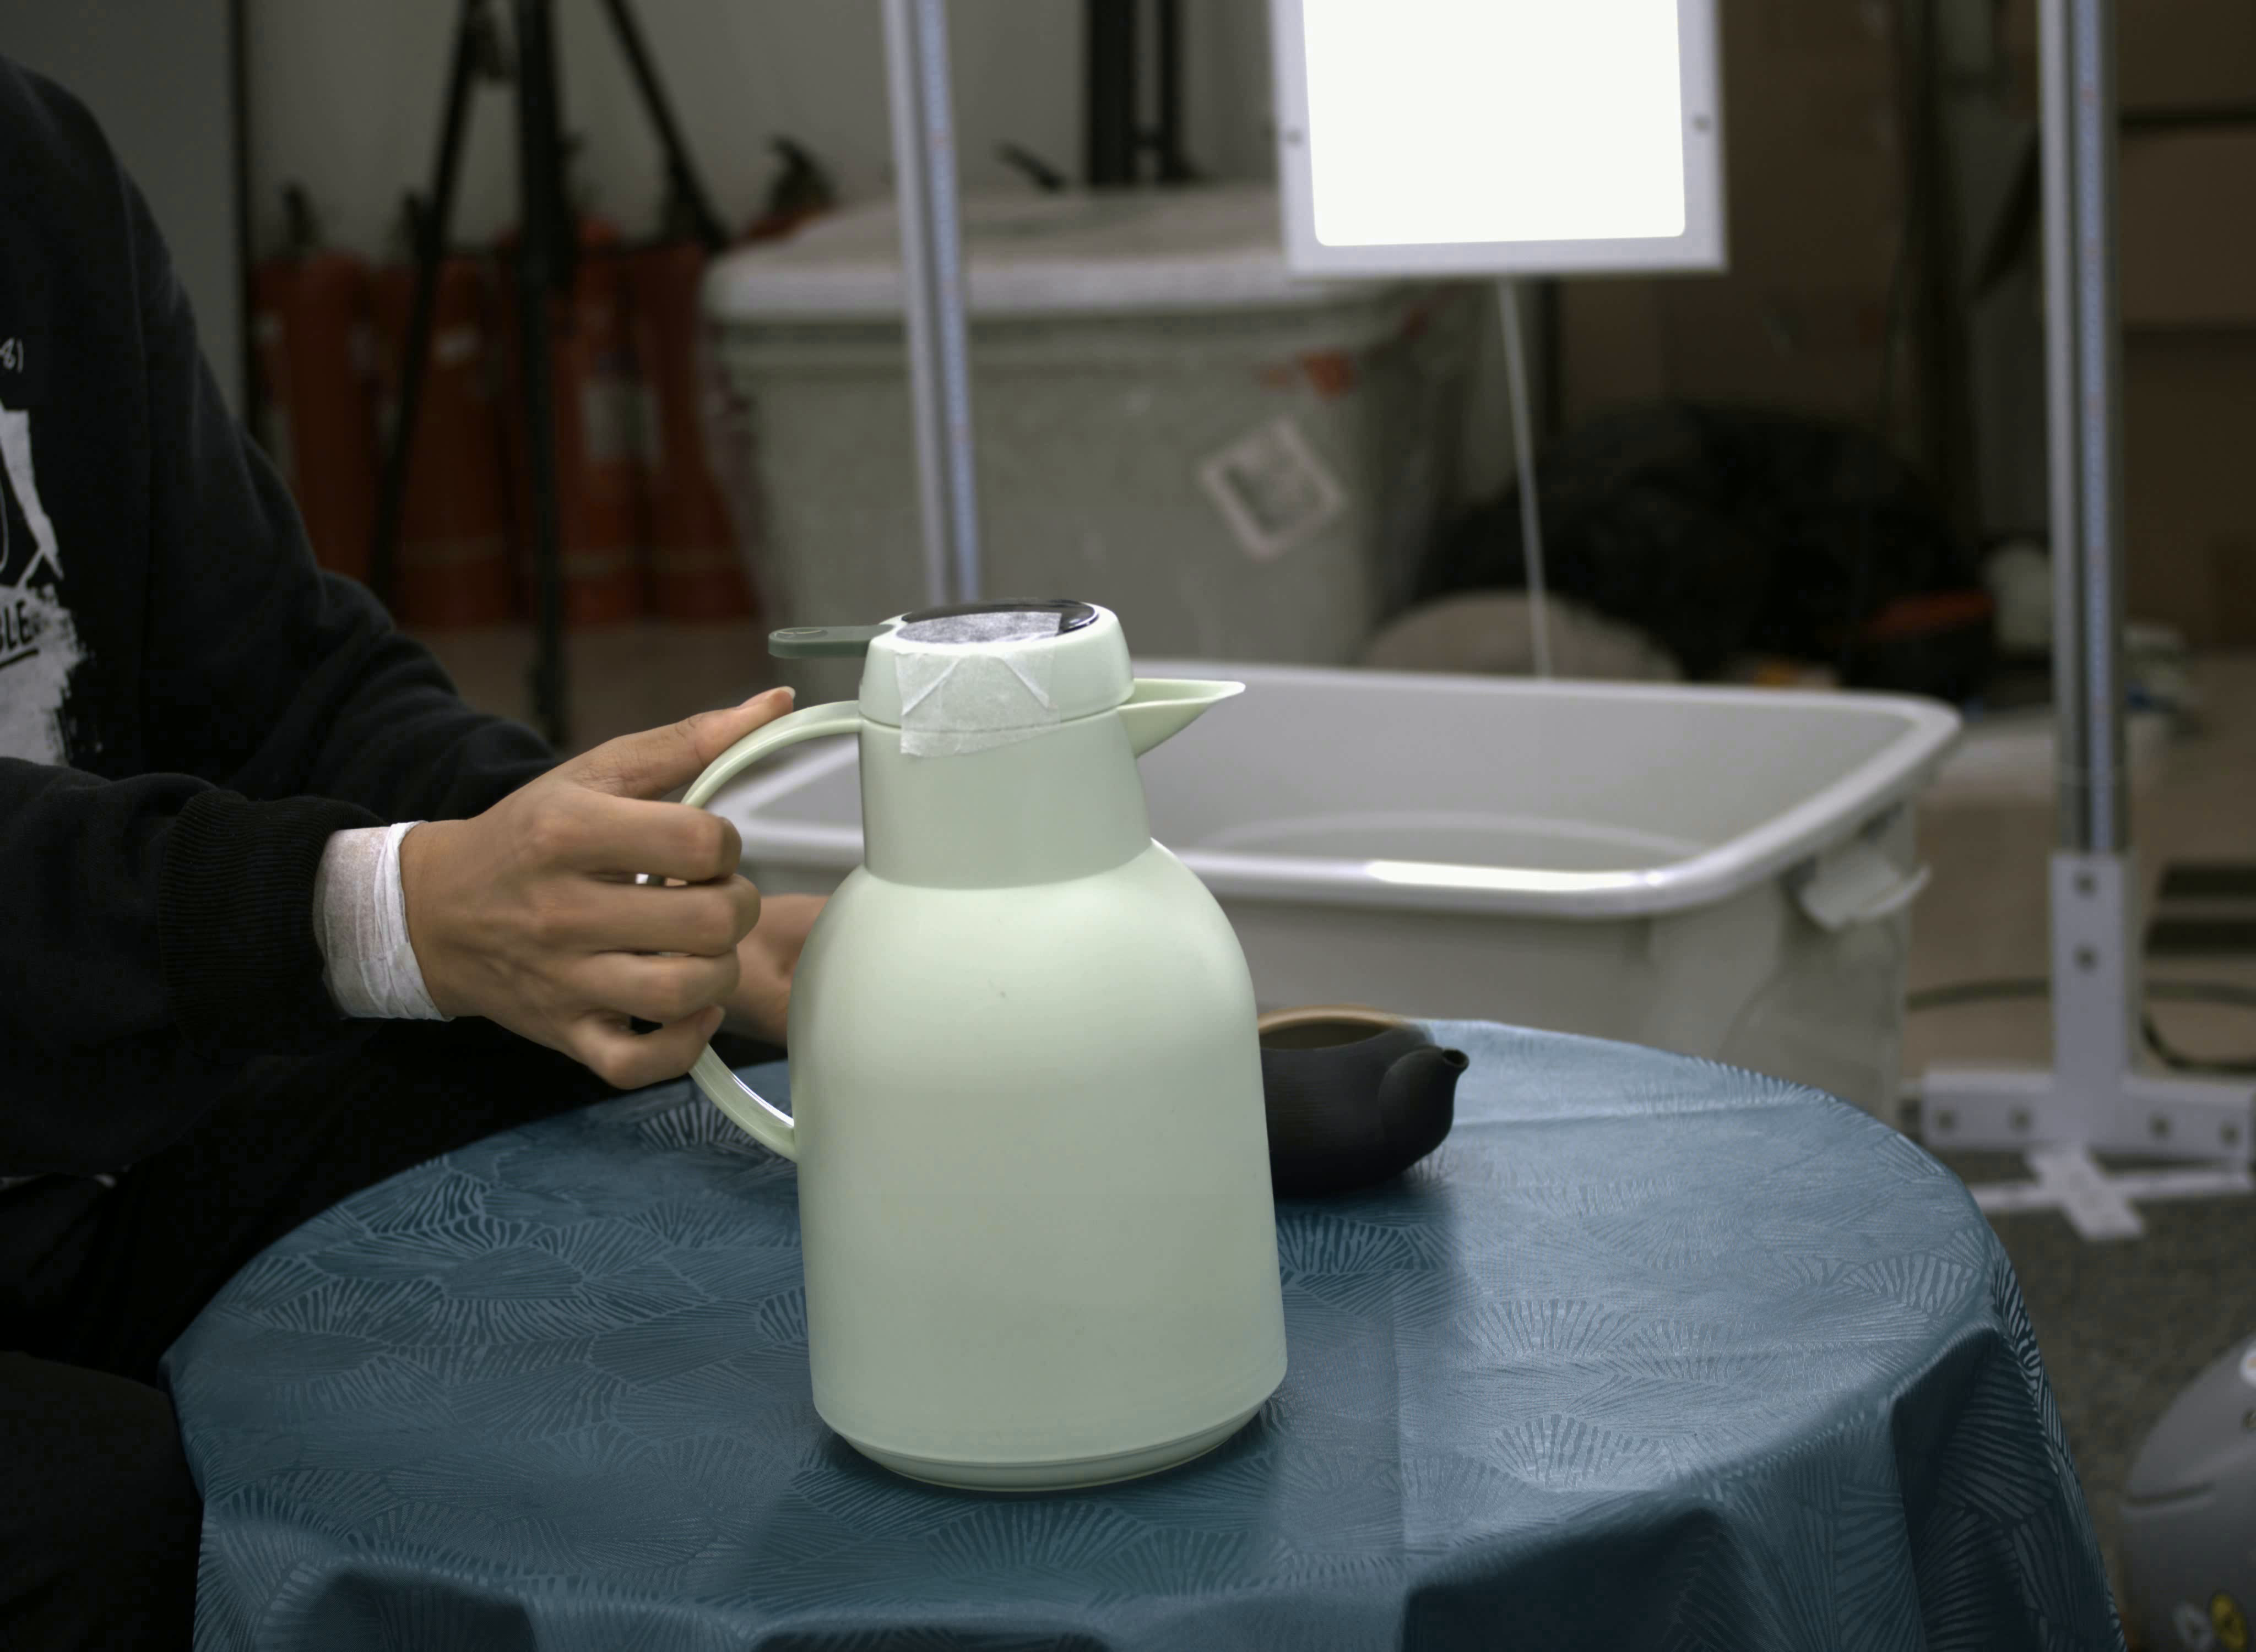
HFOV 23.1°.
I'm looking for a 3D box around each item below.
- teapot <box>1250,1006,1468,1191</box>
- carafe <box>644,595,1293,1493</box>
[{"bbox_3d":[0.066,0.094,1.896,0.136,0.053,0.088,8,17,43],"label":"teapot"},{"bbox_3d":[-0.046,0.062,1.655,0.187,0.257,0.143,-7,16,4],"label":"carafe"}]
